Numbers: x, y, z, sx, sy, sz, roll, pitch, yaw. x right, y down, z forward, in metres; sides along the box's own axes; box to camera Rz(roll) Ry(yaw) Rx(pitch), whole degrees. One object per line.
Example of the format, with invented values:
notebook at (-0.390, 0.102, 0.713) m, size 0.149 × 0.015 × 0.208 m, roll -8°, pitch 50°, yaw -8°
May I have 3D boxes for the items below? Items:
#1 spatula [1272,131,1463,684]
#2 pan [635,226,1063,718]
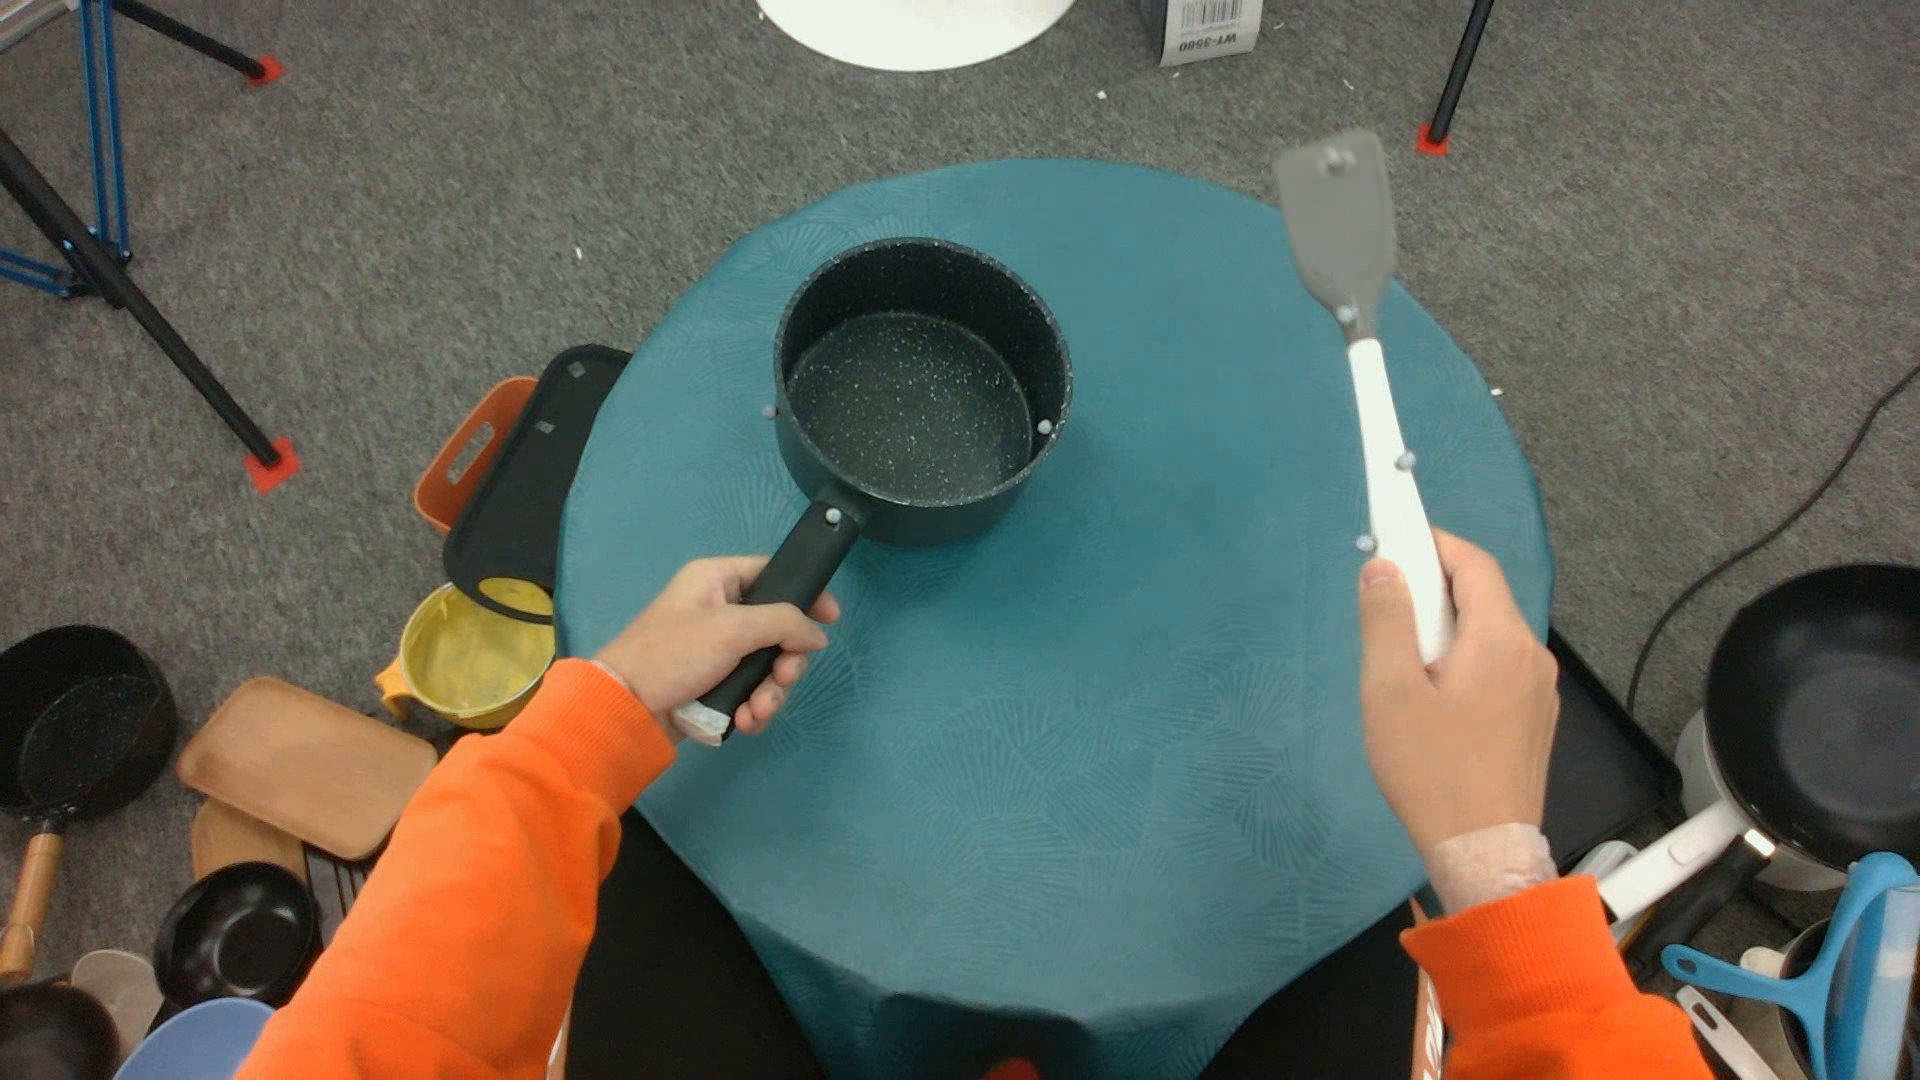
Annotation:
spatula at (0.195, -0.073, 0.655) m, size 0.058 × 0.032 × 0.288 m, roll -12°, pitch 63°, yaw 20°
pan at (-0.069, -0.031, 0.769) m, size 0.172 × 0.086 × 0.330 m, roll 31°, pitch 63°, yaw 4°
